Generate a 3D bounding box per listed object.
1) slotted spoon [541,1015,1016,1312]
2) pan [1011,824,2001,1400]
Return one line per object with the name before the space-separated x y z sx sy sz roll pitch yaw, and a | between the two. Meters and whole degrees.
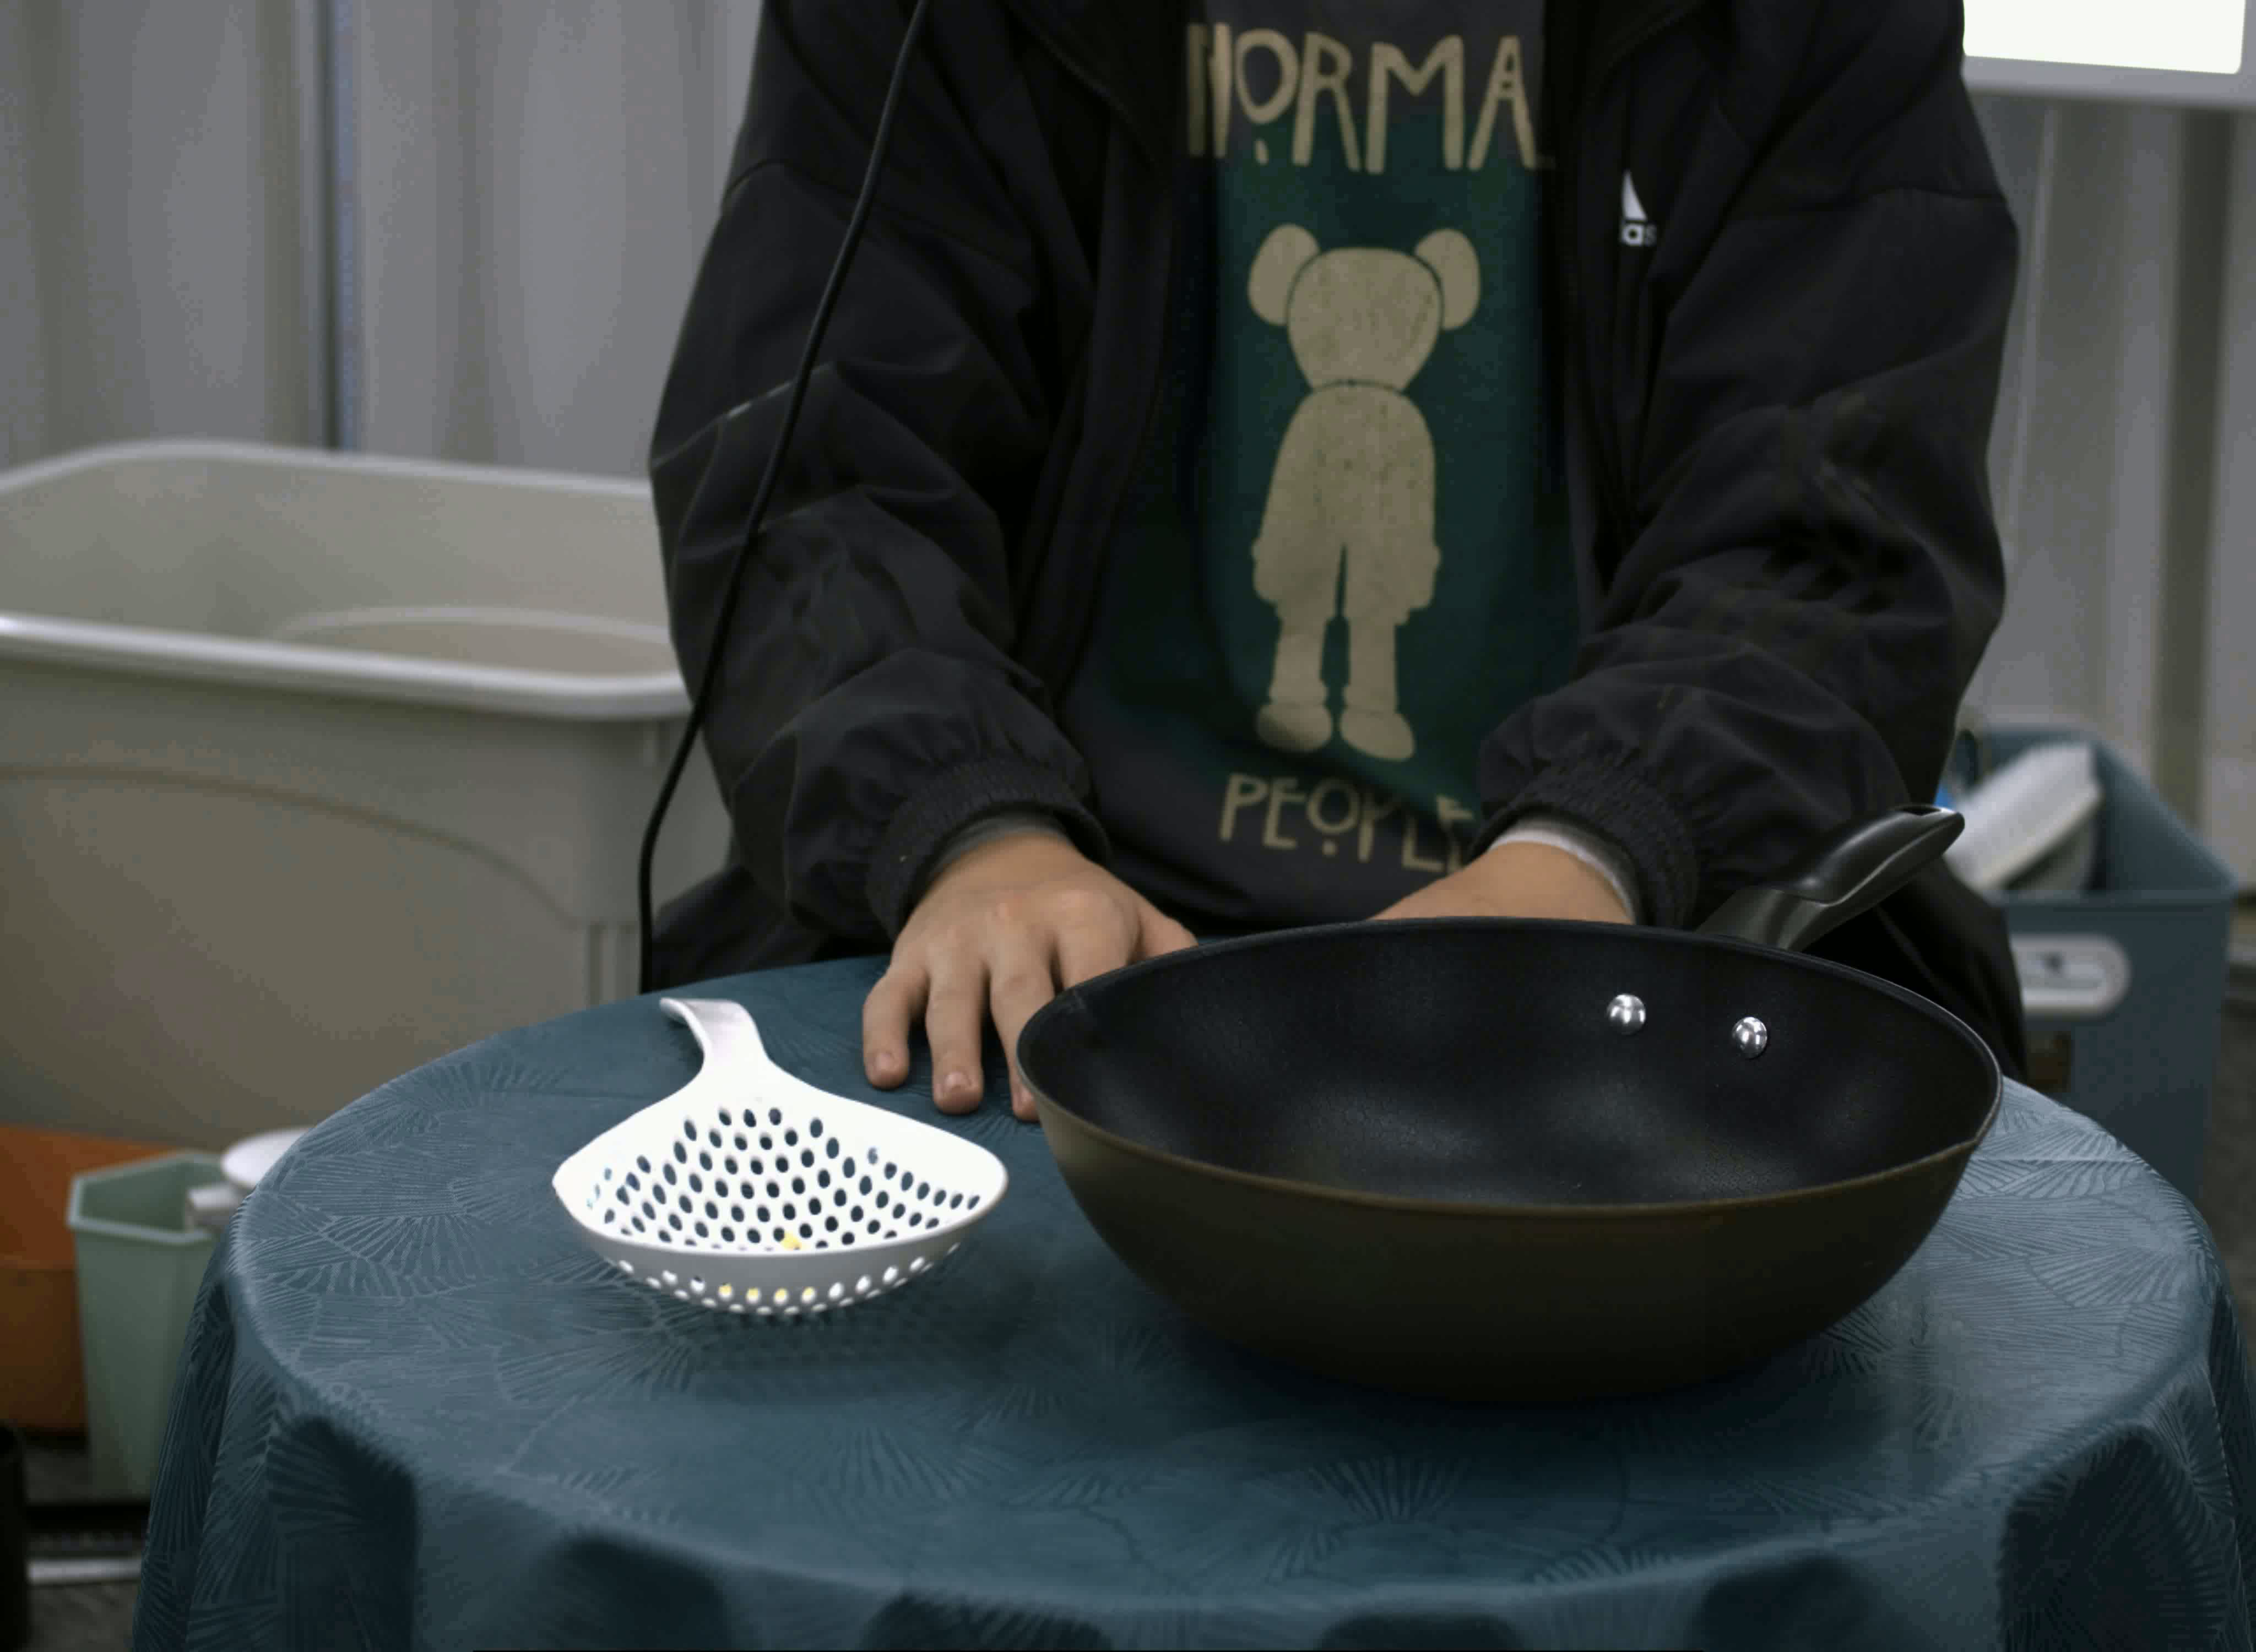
slotted spoon | -0.118 0.090 1.625 0.137 0.051 0.345 -4 16 -9
pan | 0.152 0.081 1.589 0.285 0.087 0.465 10 17 28
